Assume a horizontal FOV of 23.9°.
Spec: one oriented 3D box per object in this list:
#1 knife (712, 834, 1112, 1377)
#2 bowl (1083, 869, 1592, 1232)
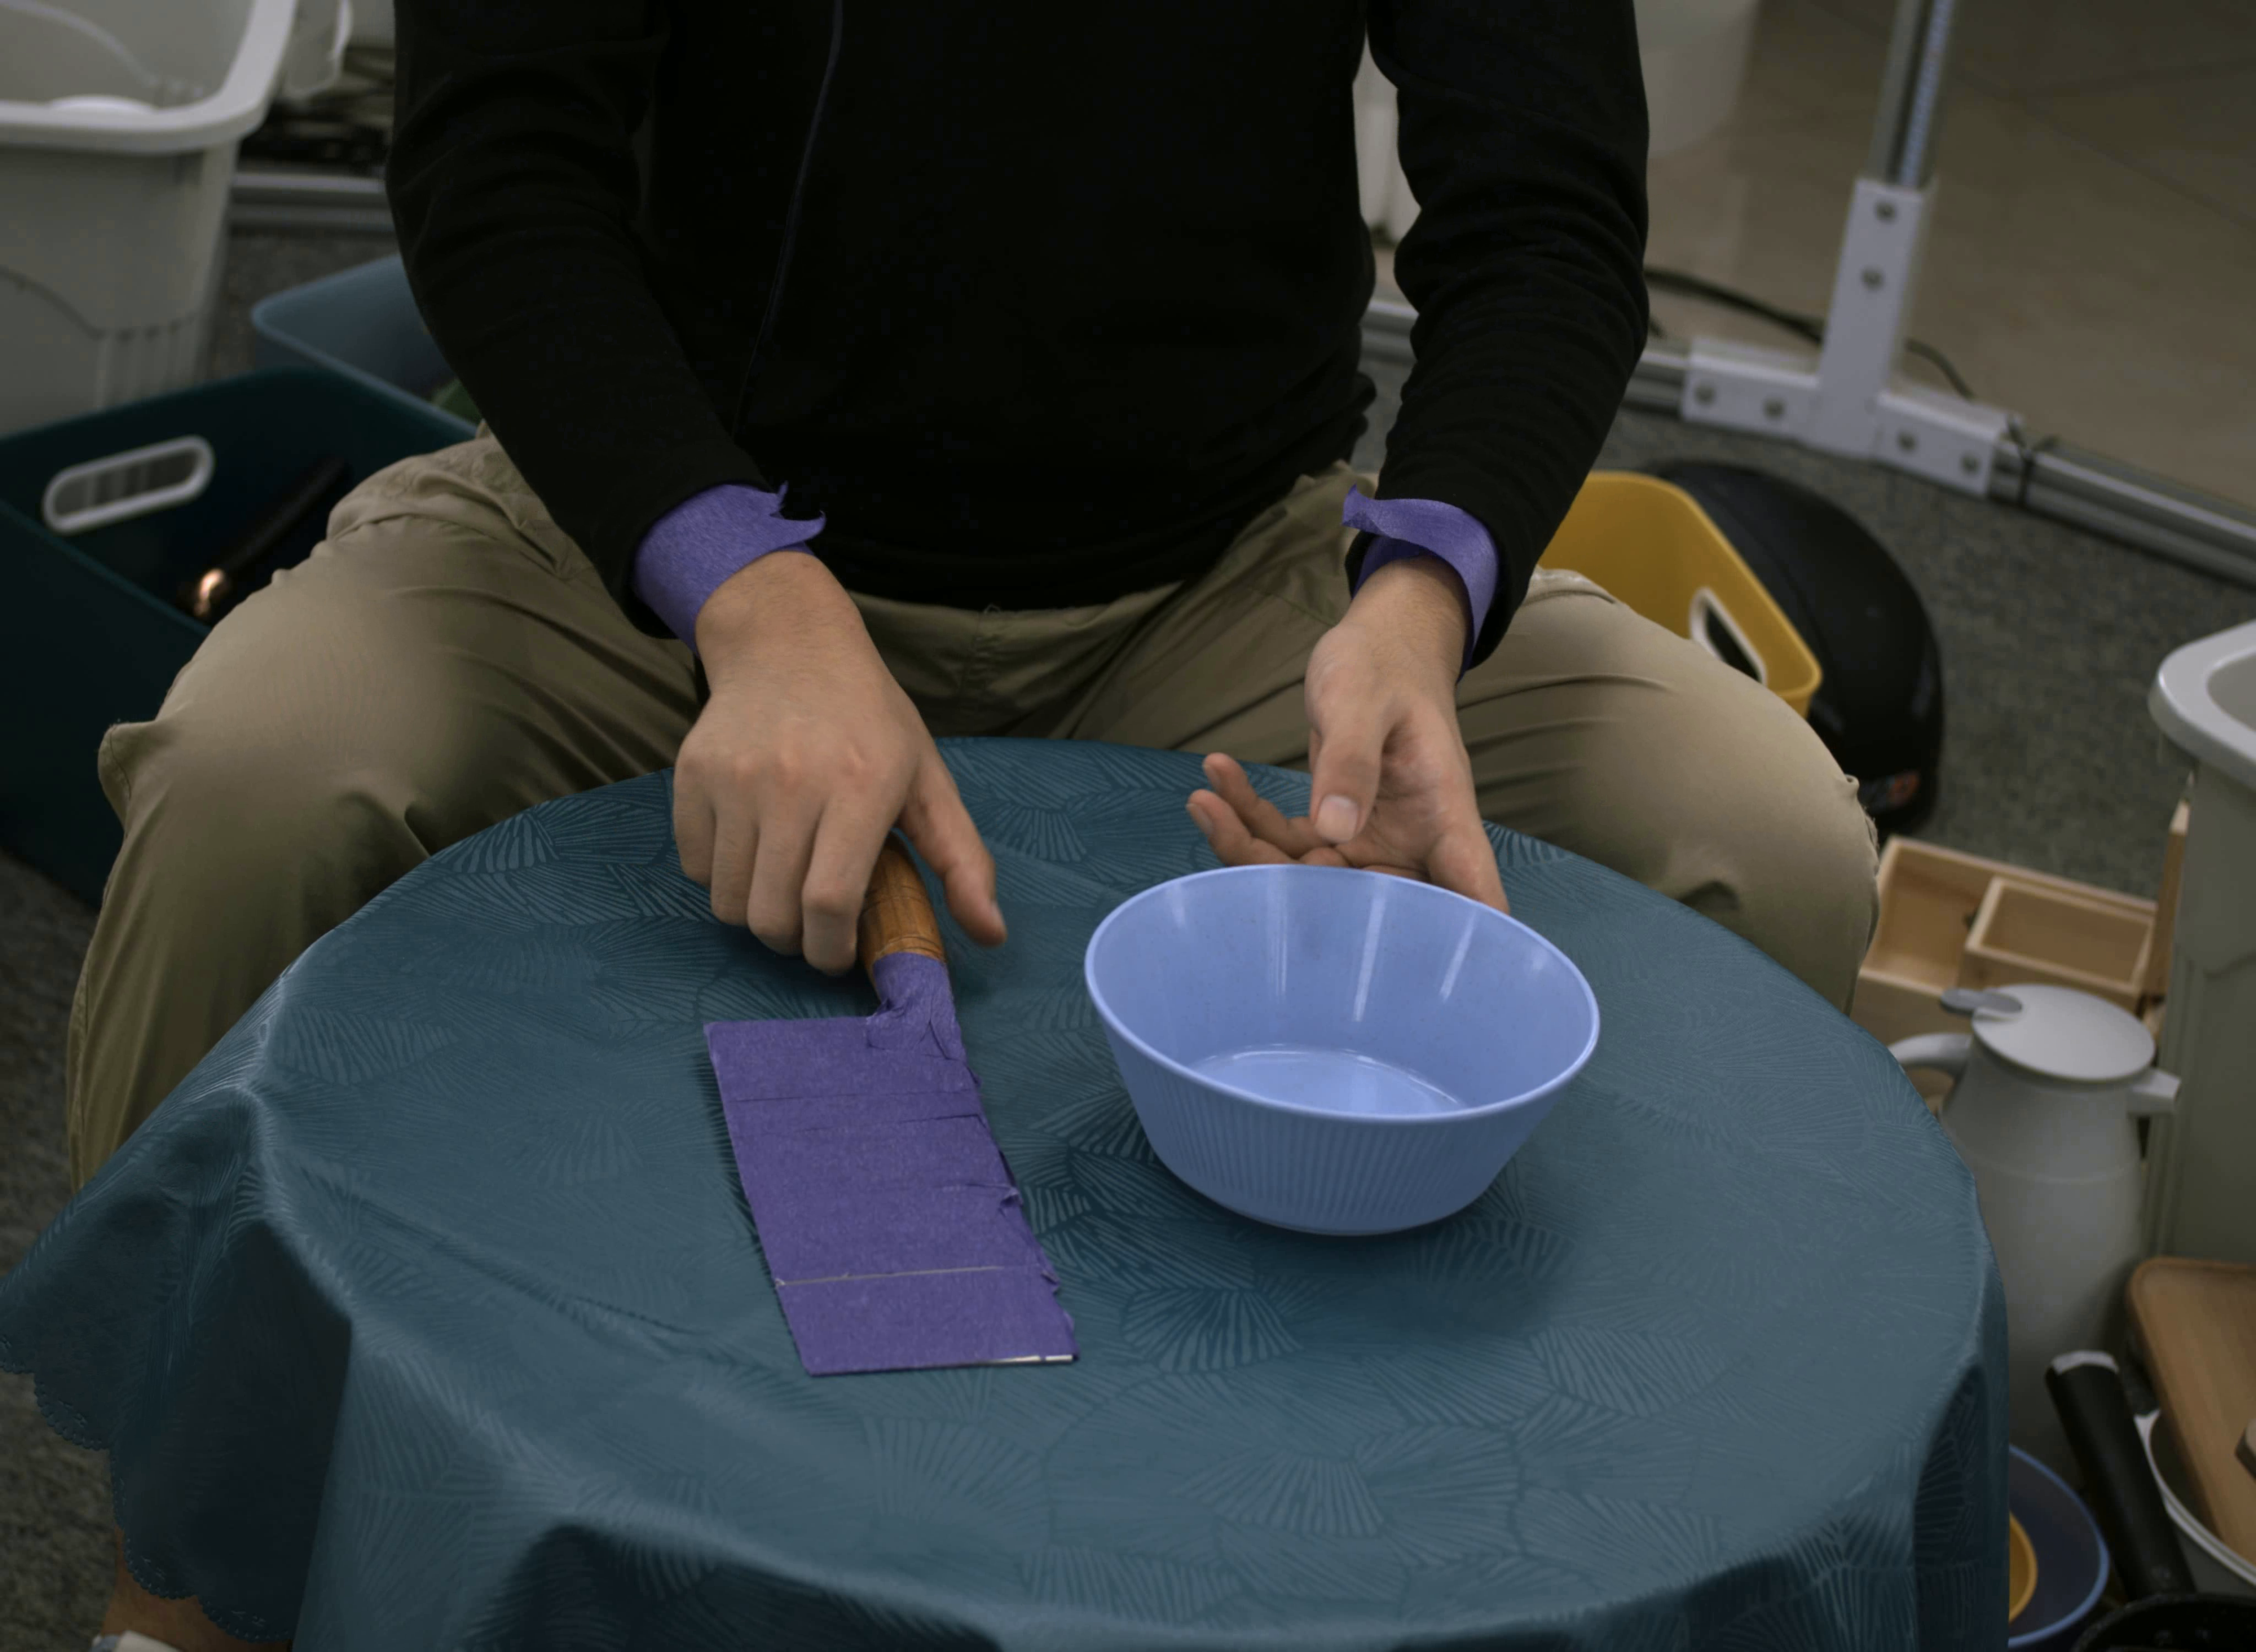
[{"bbox_3d":[-0.090,0.090,1.821,0.103,0.032,0.318,-1,28,-15],"label":"knife"},{"bbox_3d":[0.068,0.083,1.822,0.175,0.070,0.177,6,26,-3],"label":"bowl"}]
